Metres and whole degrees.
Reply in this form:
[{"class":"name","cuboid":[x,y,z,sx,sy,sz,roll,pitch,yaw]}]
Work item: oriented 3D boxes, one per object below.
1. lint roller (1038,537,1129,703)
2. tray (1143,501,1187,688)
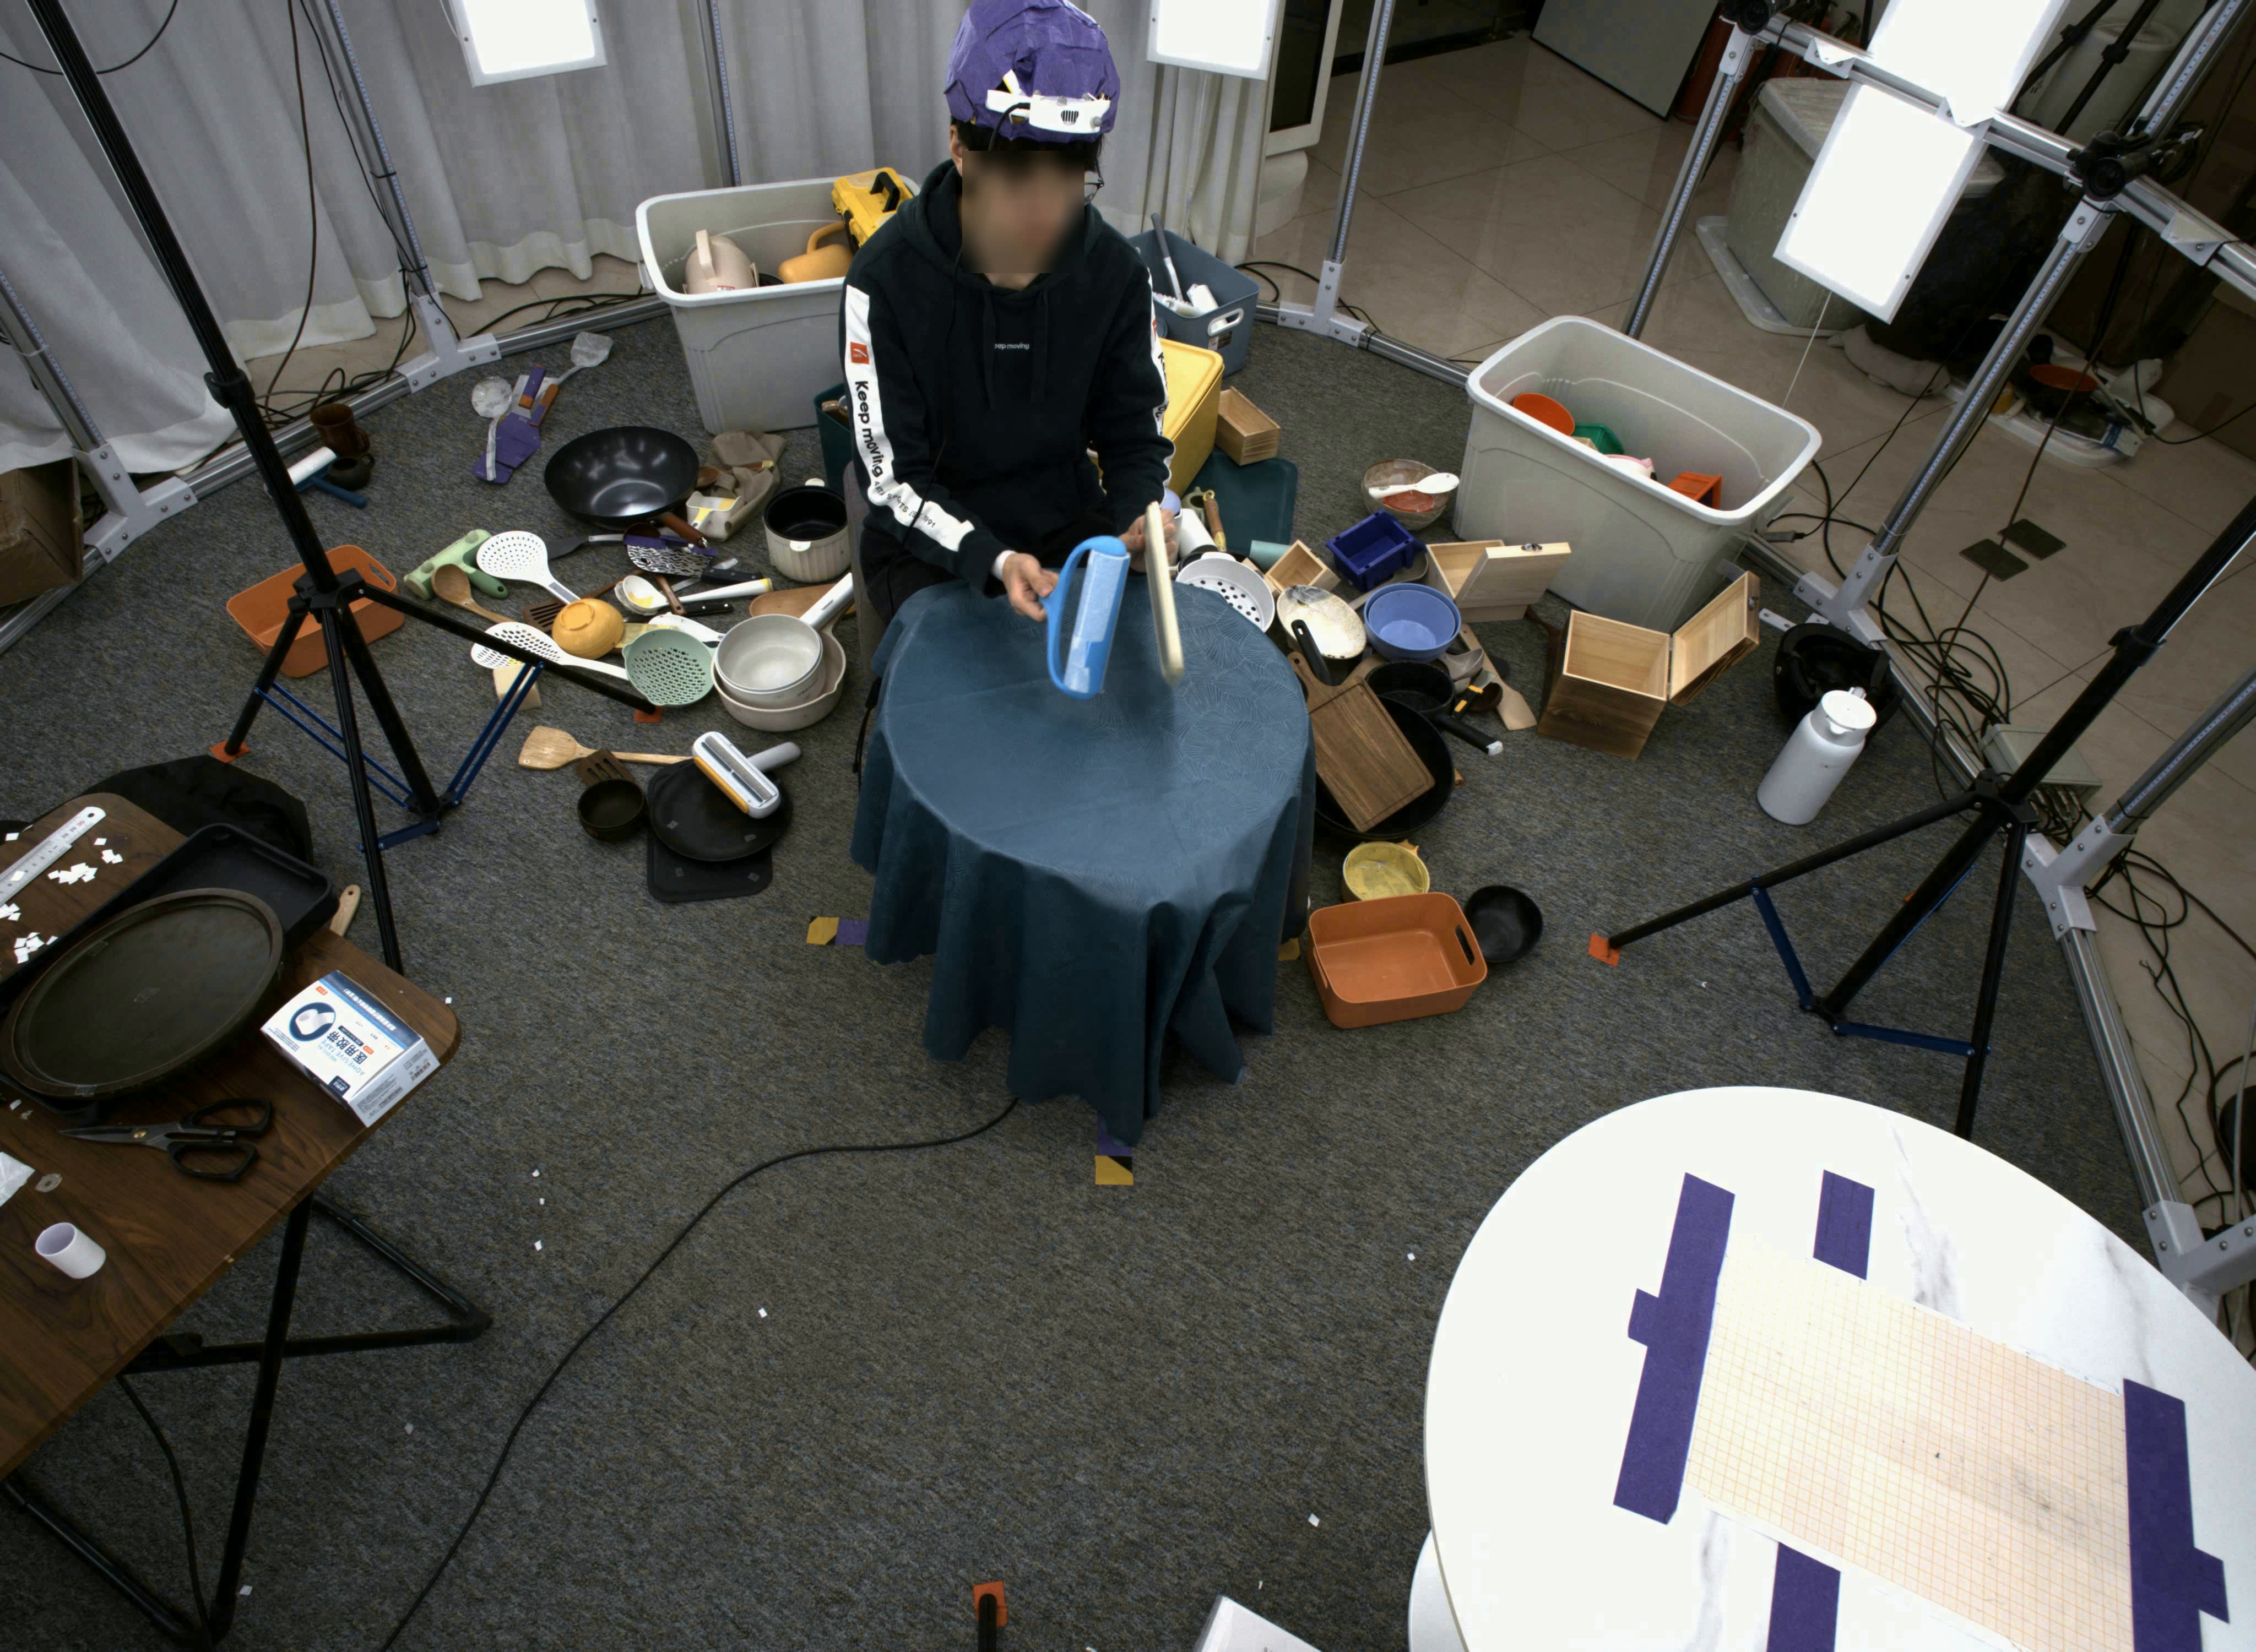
[{"class":"lint roller","cuboid":[-0.083,-0.297,1.751,0.068,0.225,0.183,-11,31,-40]},{"class":"tray","cuboid":[0.049,-0.312,1.762,0.017,0.171,0.240,-9,88,-3]}]
